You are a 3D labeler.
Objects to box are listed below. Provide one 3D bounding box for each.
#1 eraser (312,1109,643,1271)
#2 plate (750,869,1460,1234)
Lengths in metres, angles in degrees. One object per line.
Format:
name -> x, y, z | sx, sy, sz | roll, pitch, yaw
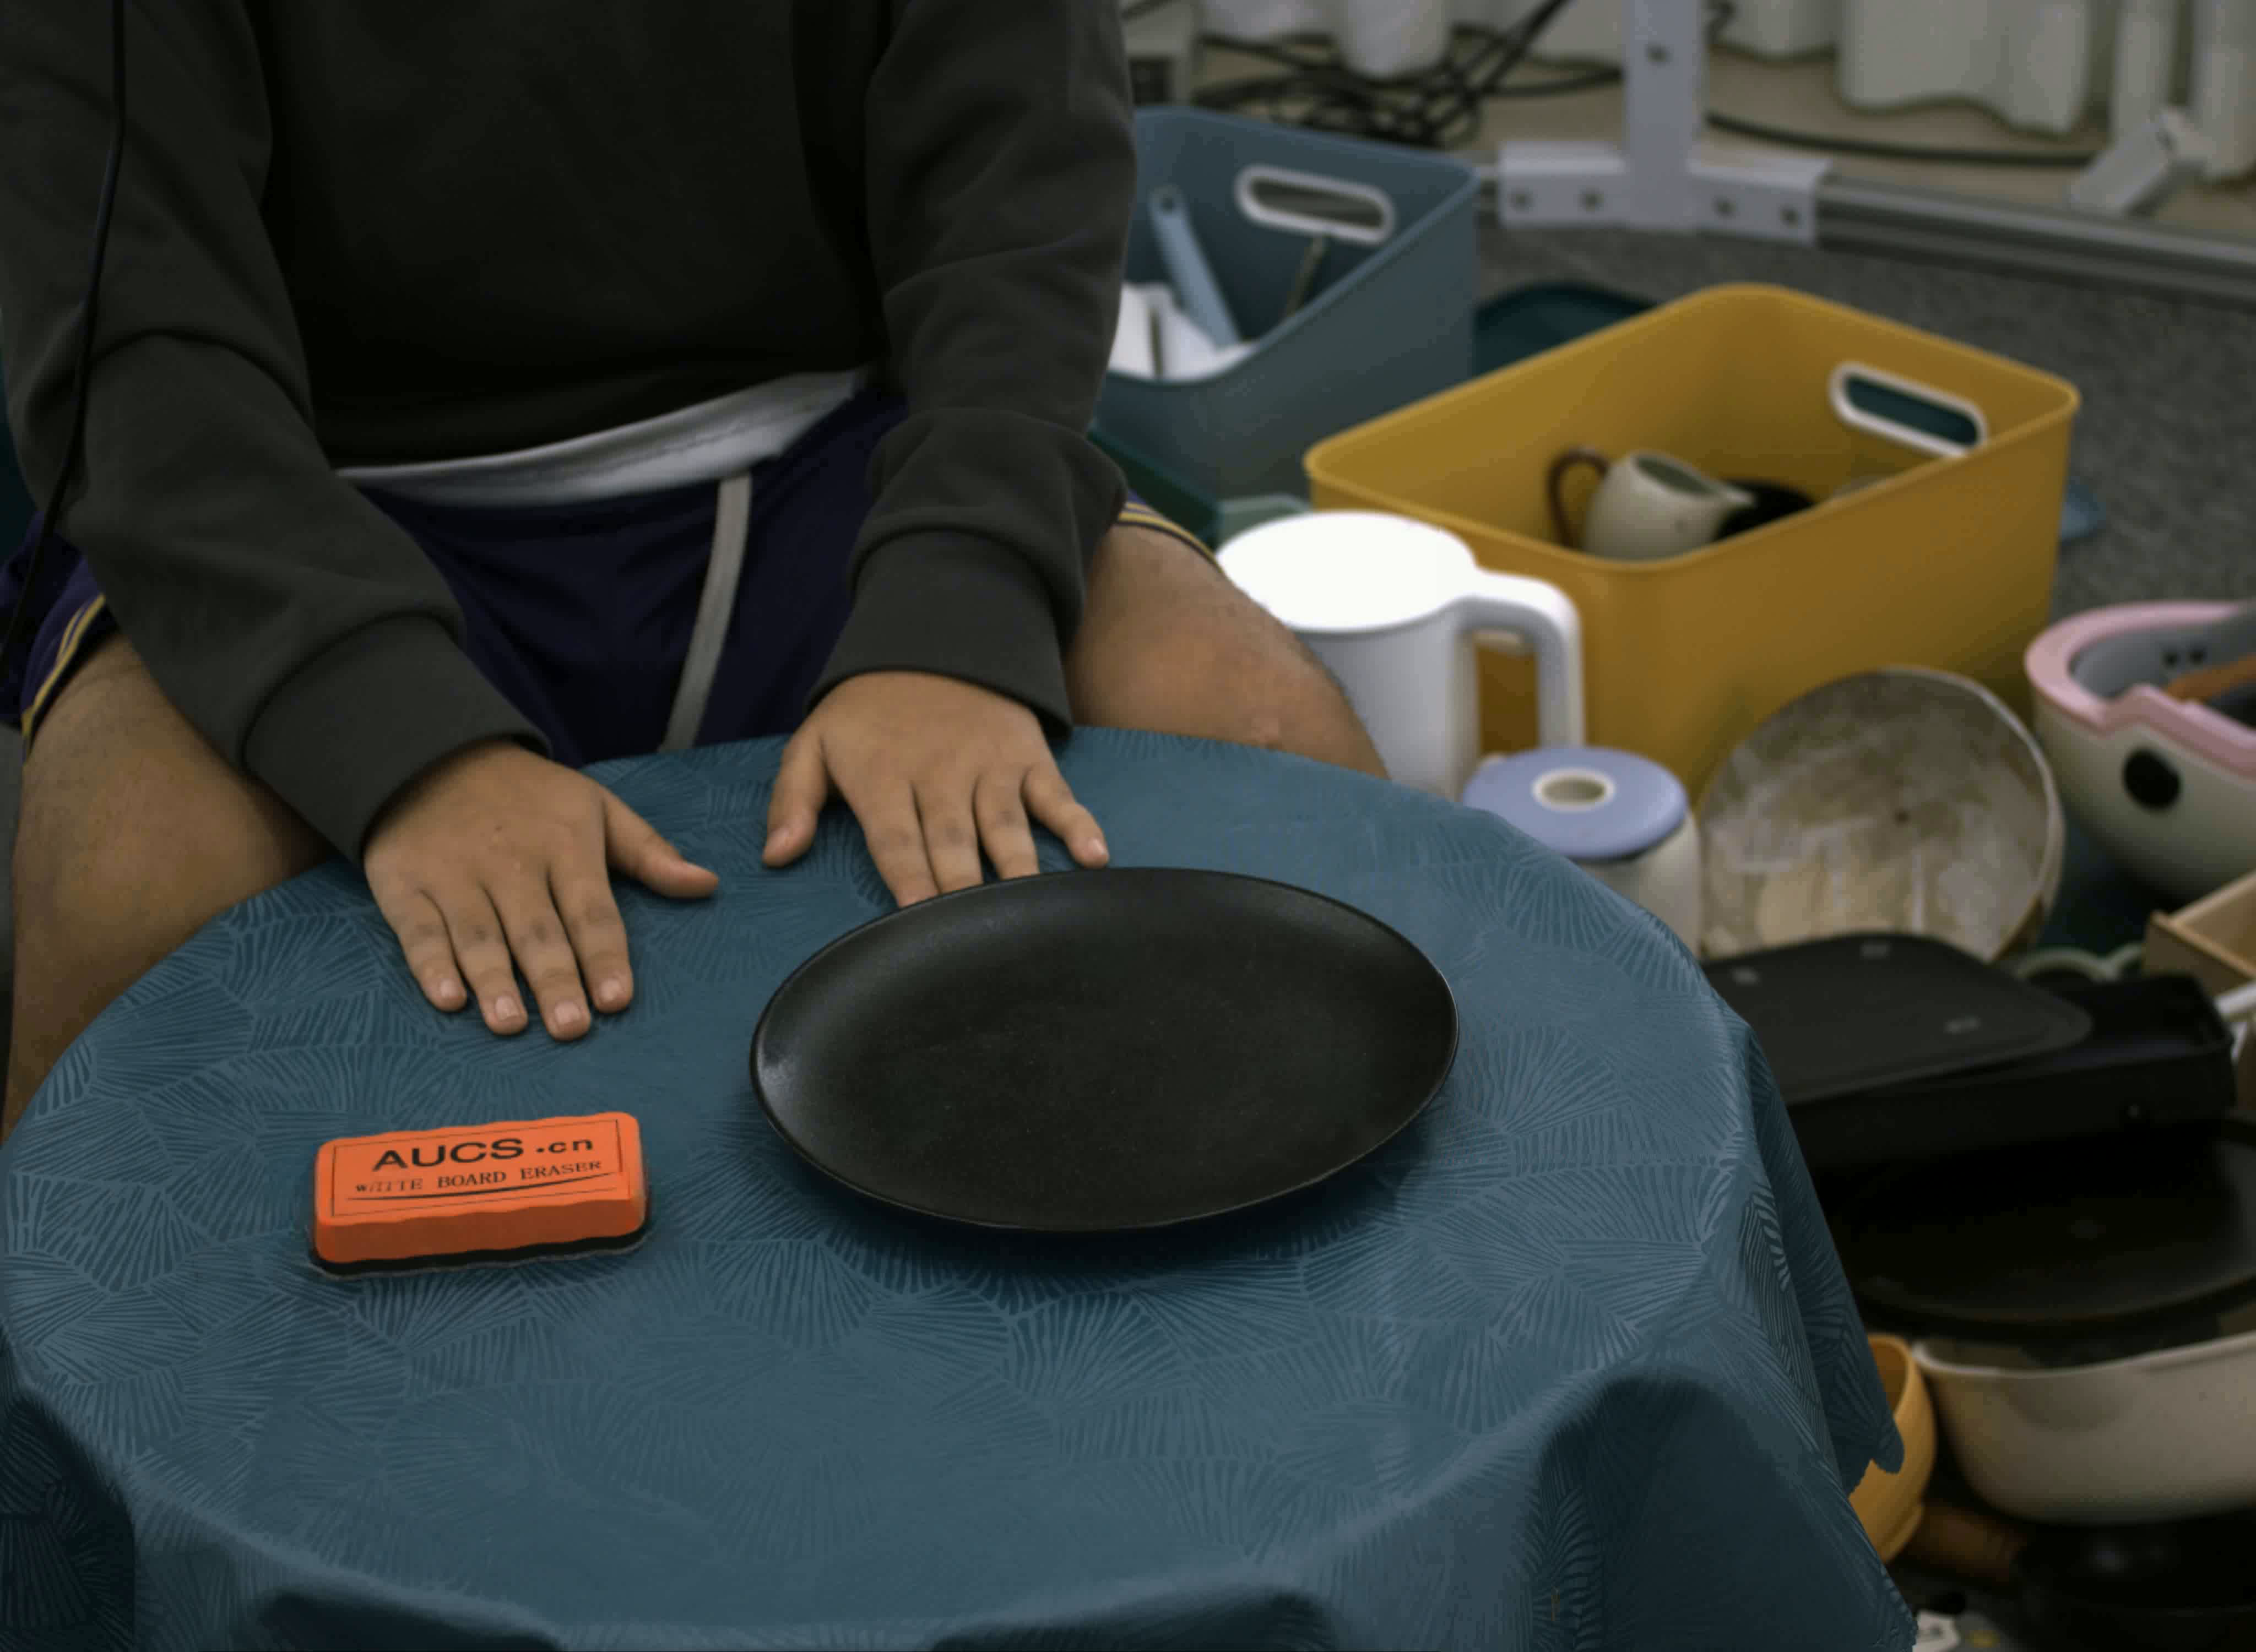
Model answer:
eraser -> -0.215, 0.120, 1.854 | 0.108, 0.022, 0.060 | -4, 28, -6
plate -> -0.007, 0.081, 1.917 | 0.243, 0.023, 0.248 | -2, 27, 2
